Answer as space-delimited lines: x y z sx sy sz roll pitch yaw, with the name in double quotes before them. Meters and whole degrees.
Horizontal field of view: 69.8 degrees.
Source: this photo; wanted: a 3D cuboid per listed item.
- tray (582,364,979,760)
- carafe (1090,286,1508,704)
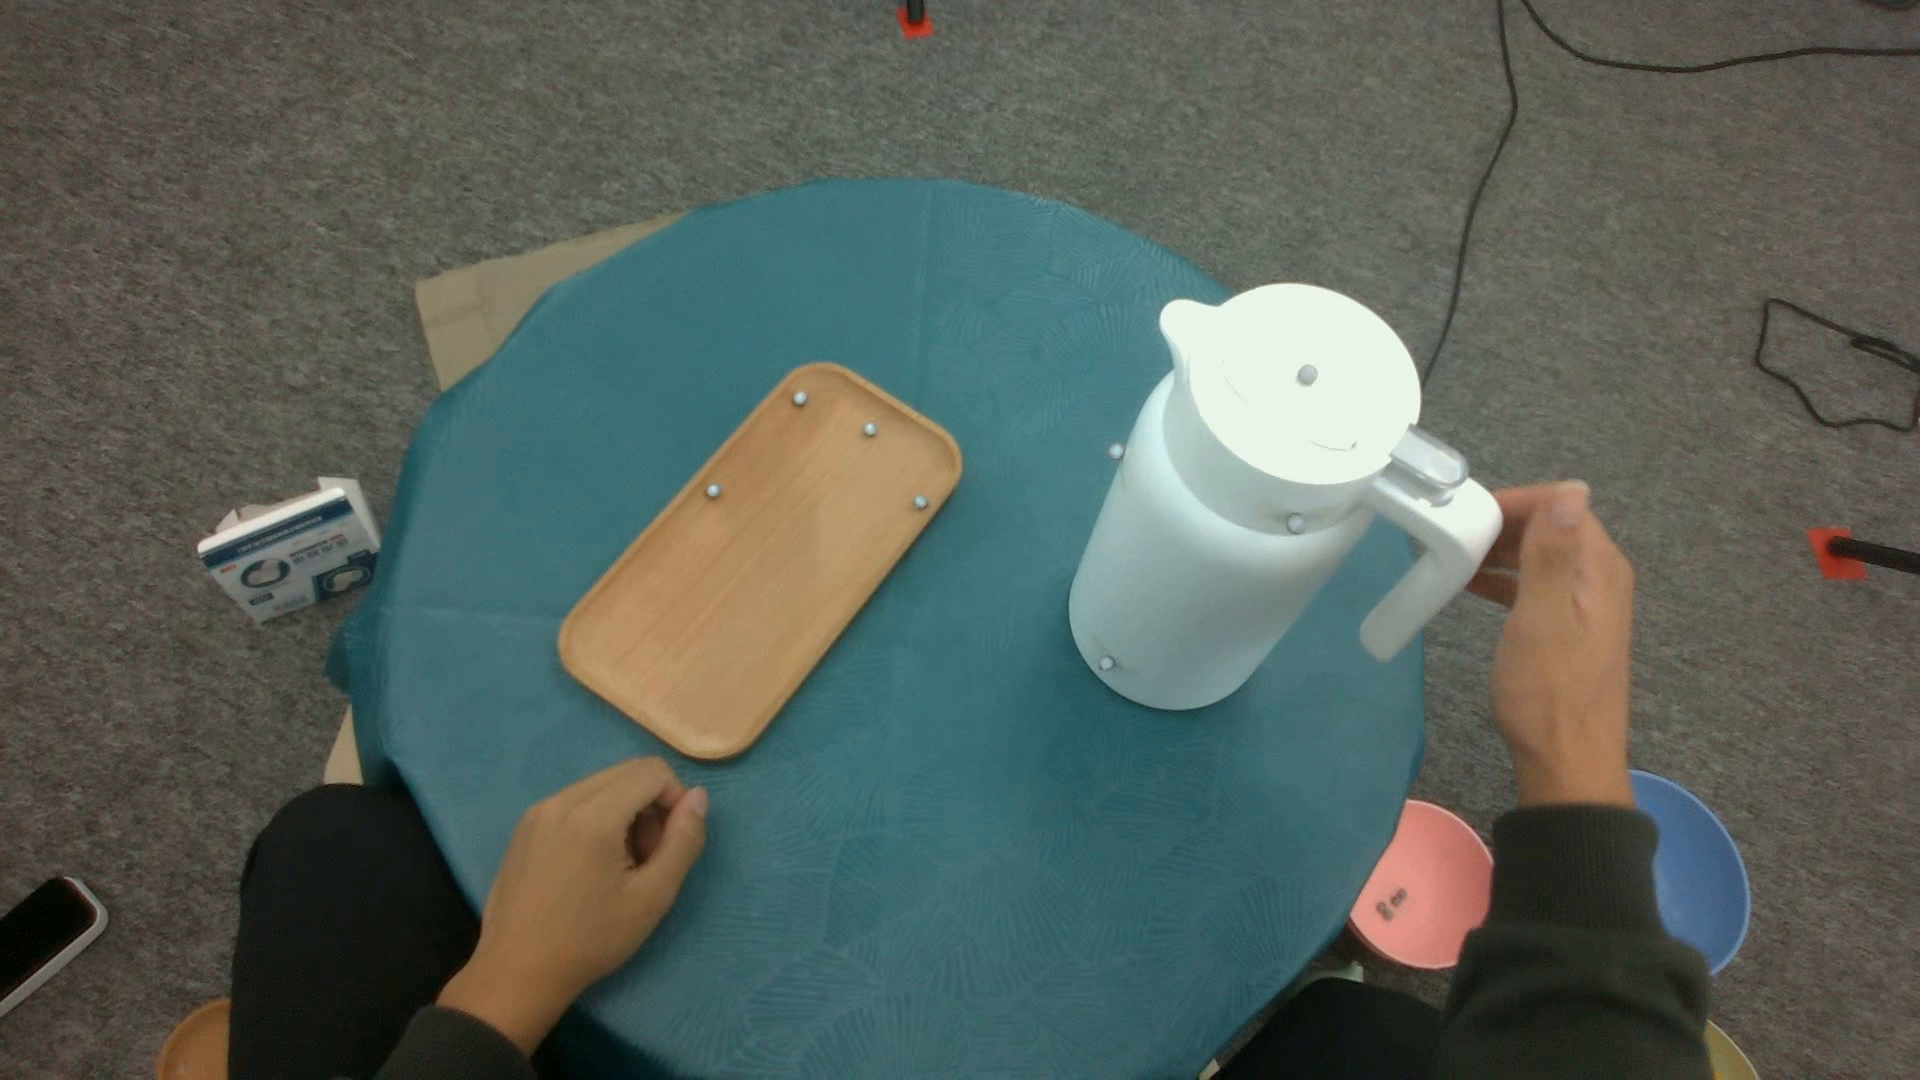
"tray" -0.100 0.007 0.810 0.130 0.023 0.251 33 66 13
"carafe" 0.157 -0.003 0.699 0.173 0.267 0.124 33 65 11
